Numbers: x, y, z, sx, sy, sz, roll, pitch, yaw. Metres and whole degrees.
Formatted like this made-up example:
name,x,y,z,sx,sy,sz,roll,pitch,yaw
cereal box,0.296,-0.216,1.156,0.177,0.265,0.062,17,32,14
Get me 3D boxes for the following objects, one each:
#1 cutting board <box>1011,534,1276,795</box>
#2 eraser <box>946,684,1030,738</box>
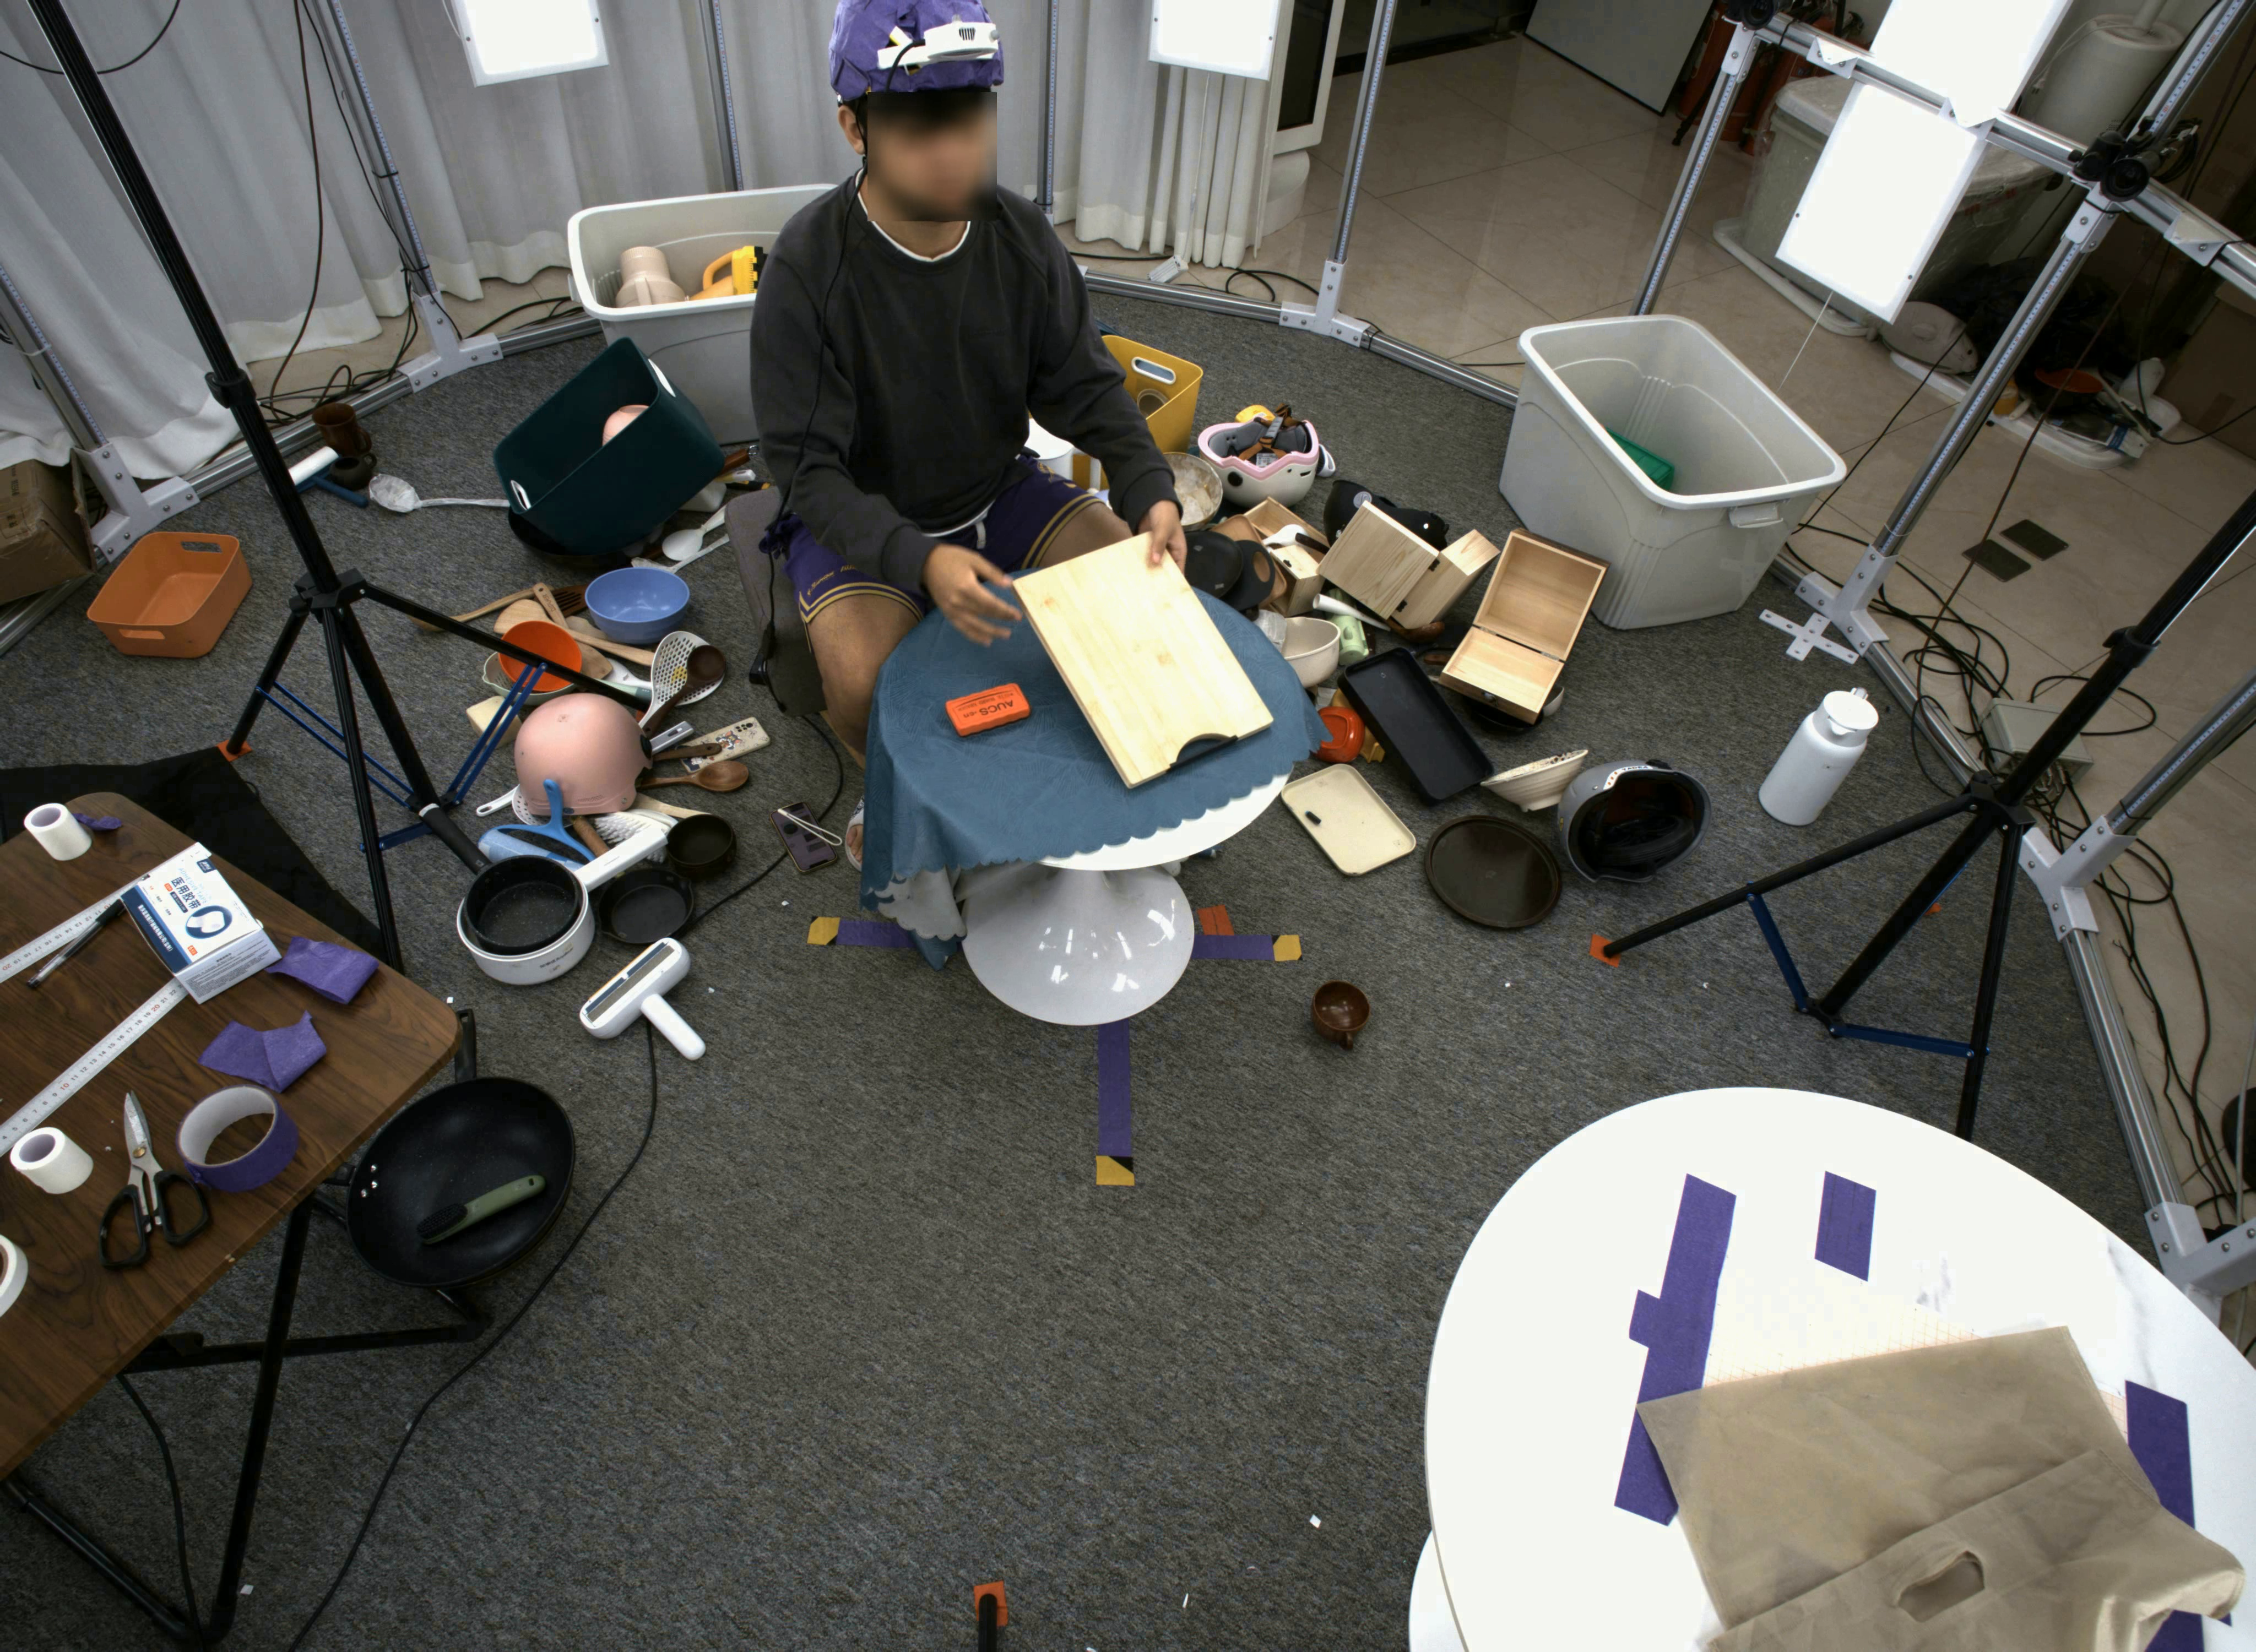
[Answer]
name,x,y,z,sx,sy,sz,roll,pitch,yaw
cutting board,0.021,-0.235,1.790,0.252,0.023,0.353,-25,74,-23
eraser,-0.193,-0.160,1.776,0.108,0.022,0.060,-17,53,-19
